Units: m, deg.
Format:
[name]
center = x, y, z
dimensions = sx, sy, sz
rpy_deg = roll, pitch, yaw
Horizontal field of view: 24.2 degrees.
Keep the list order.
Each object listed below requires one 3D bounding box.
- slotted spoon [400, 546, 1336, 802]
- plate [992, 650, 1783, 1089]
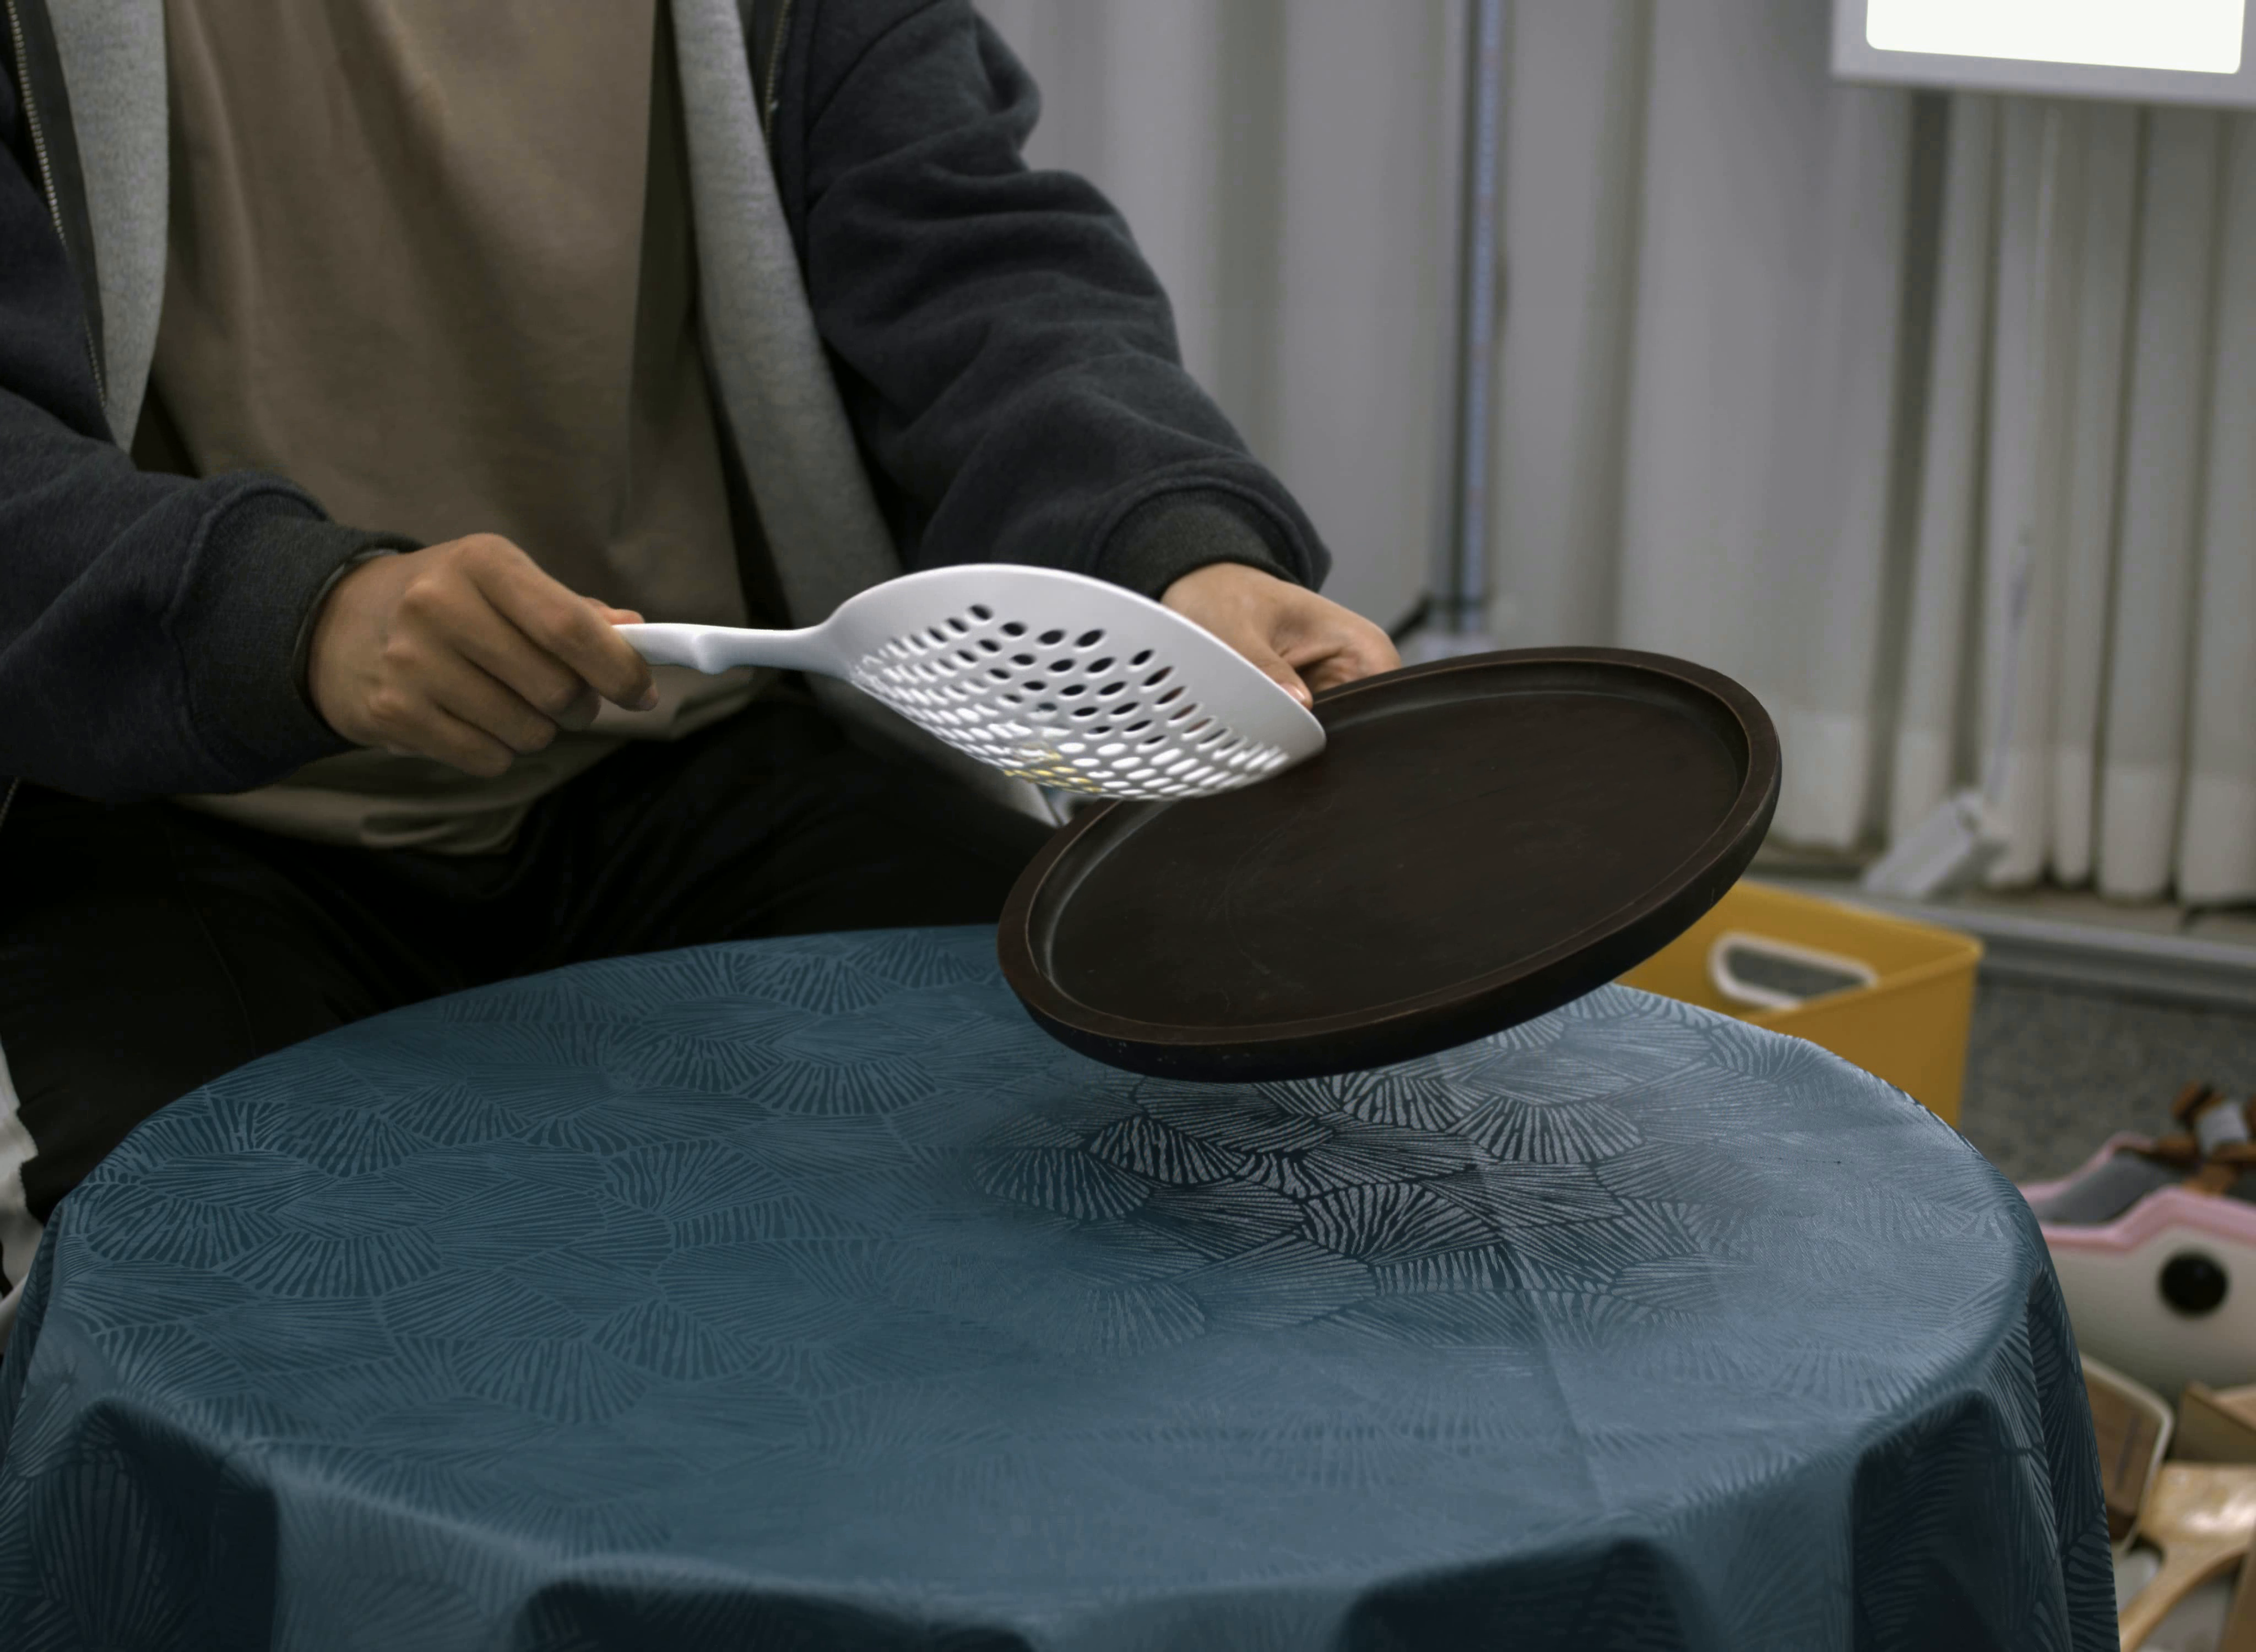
[slotted spoon]
center = -0.093, -0.047, 1.643
dimensions = 0.343, 0.050, 0.138
rpy_deg = 9, -20, 39
[plate]
center = 0.081, 0.012, 1.638
dimensions = 0.253, 0.029, 0.253
rpy_deg = -15, 25, 8
